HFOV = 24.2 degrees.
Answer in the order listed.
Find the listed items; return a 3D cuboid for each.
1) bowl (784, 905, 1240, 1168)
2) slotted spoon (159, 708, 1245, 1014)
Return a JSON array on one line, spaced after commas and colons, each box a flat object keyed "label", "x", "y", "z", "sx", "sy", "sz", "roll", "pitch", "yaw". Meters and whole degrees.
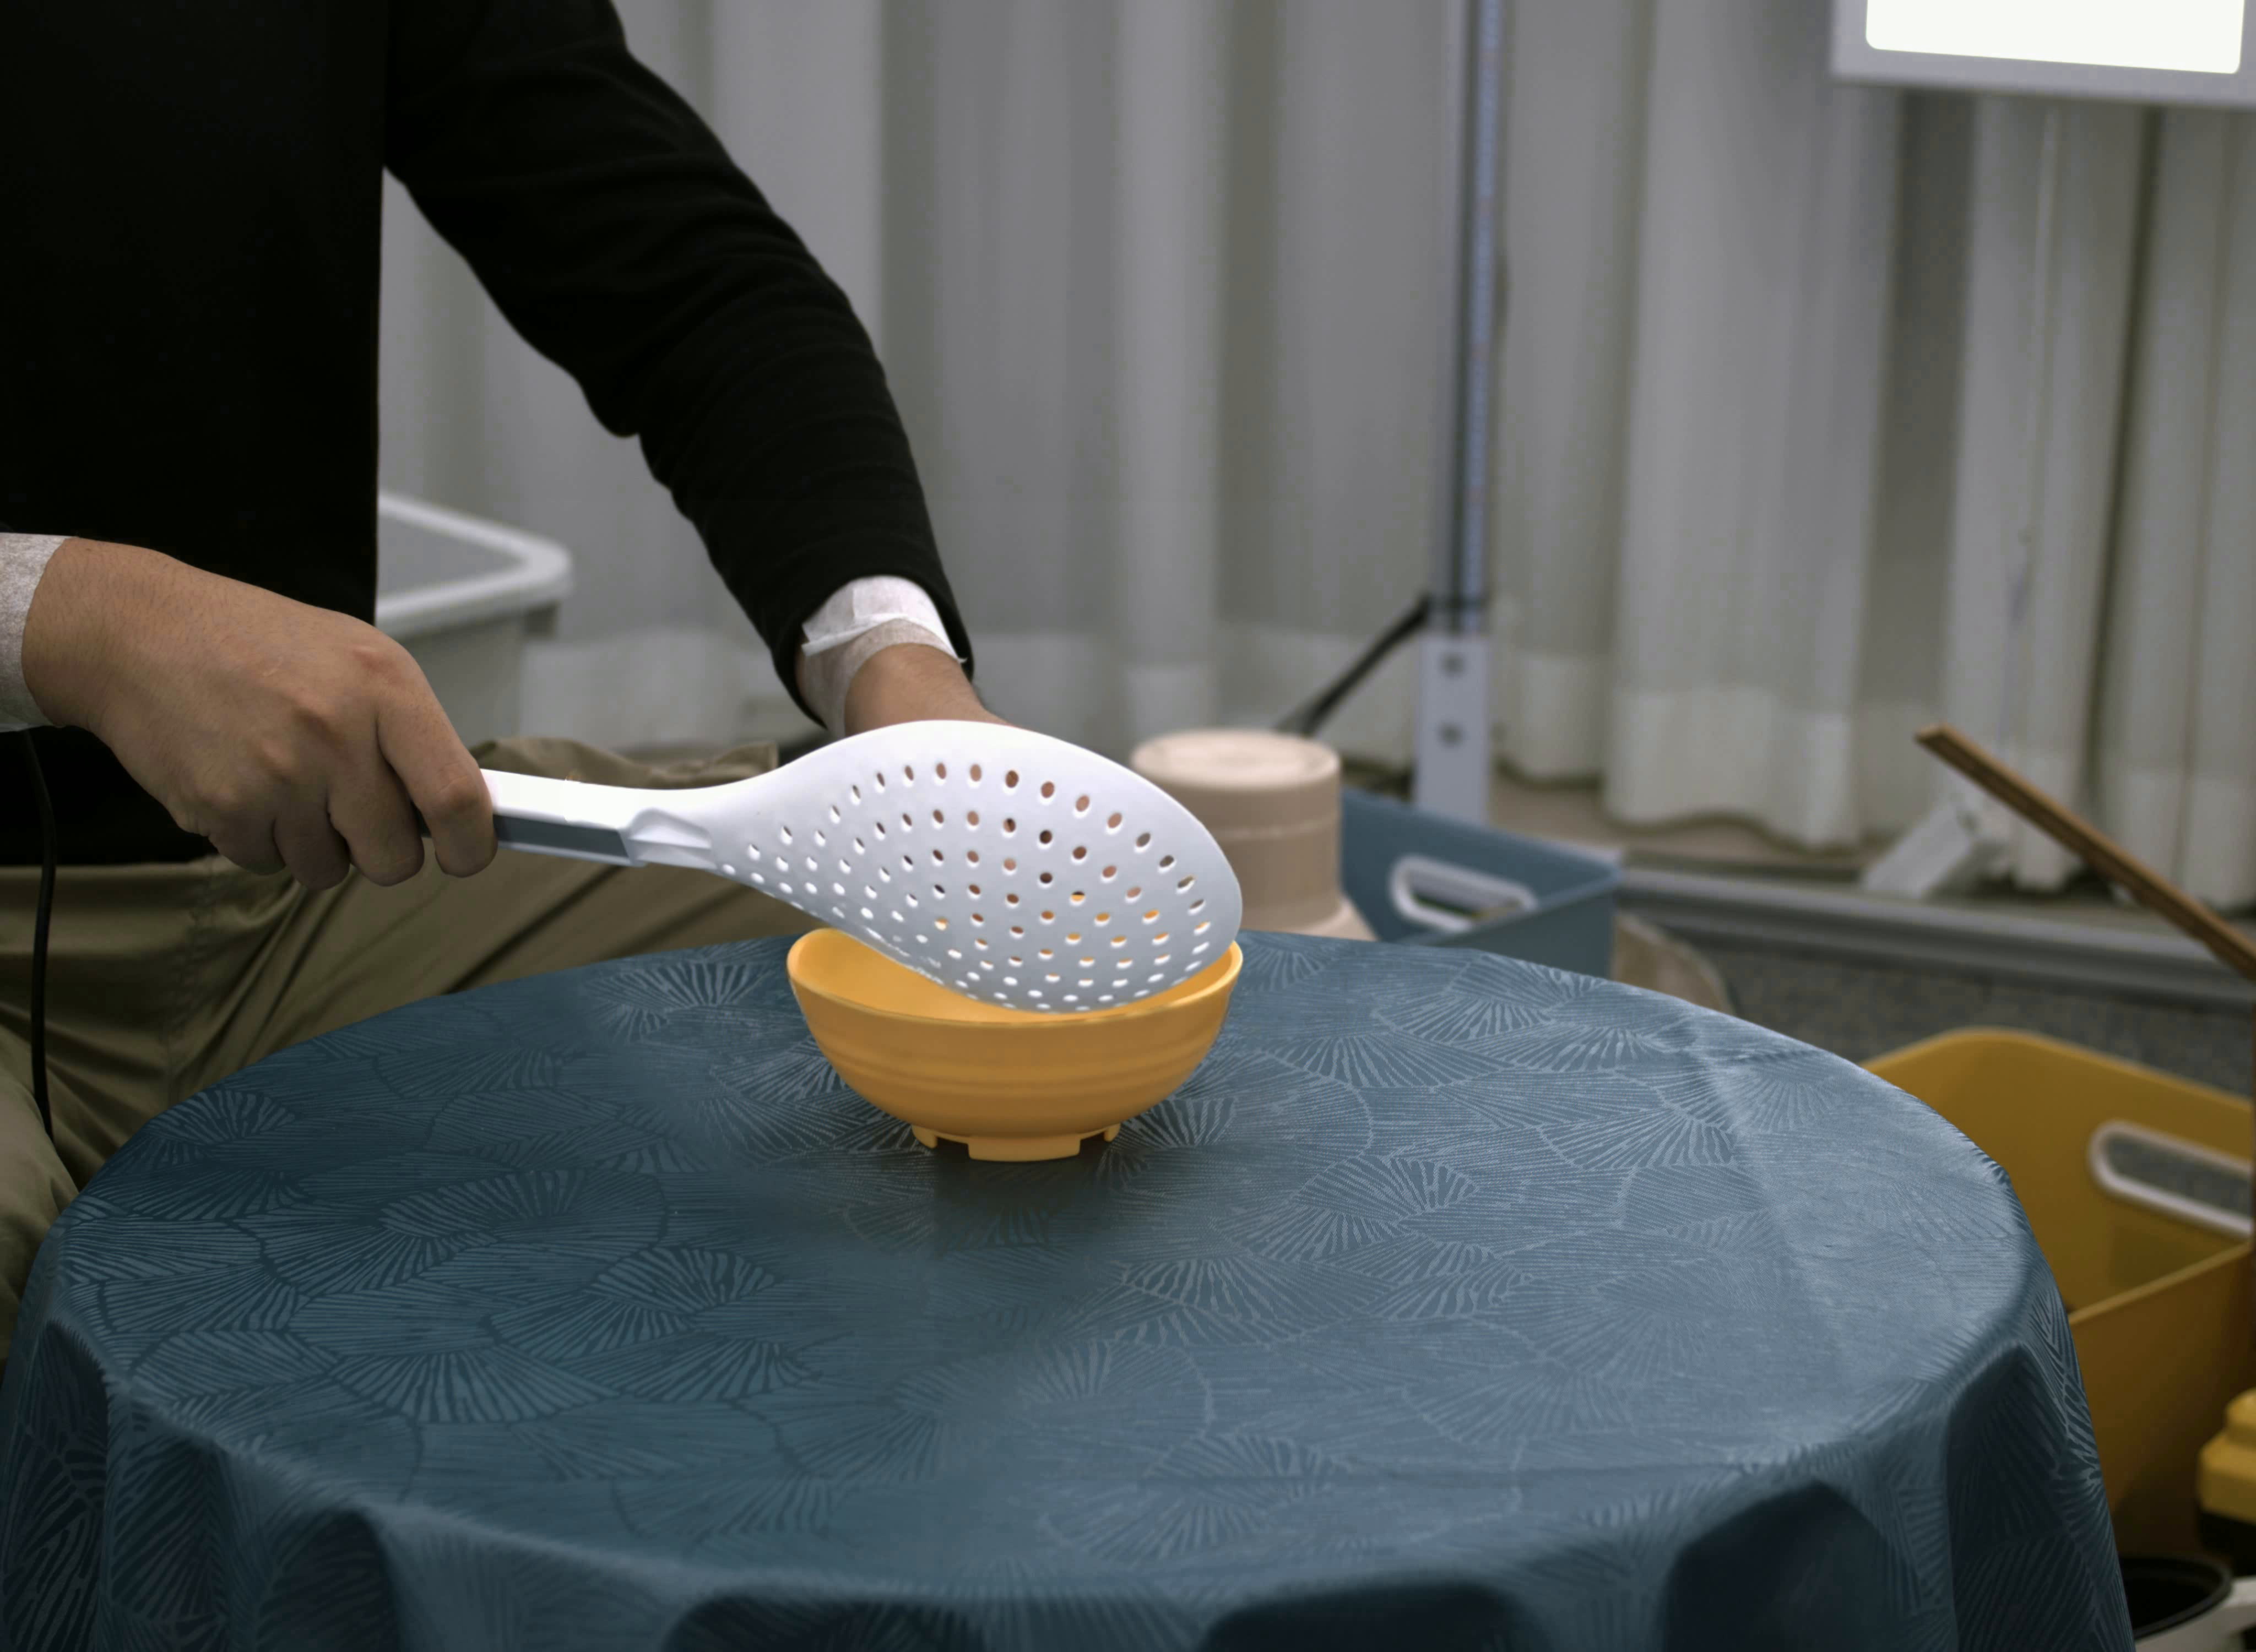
[{"label": "bowl", "x": -0.038, "y": 0.070, "z": 1.669, "sx": 0.145, "sy": 0.060, "sz": 0.144, "roll": 3, "pitch": 16, "yaw": 0}, {"label": "slotted spoon", "x": -0.135, "y": 0.001, "z": 1.597, "sx": 0.346, "sy": 0.138, "sz": 0.045, "roll": 11, "pitch": 56, "yaw": 18}]
